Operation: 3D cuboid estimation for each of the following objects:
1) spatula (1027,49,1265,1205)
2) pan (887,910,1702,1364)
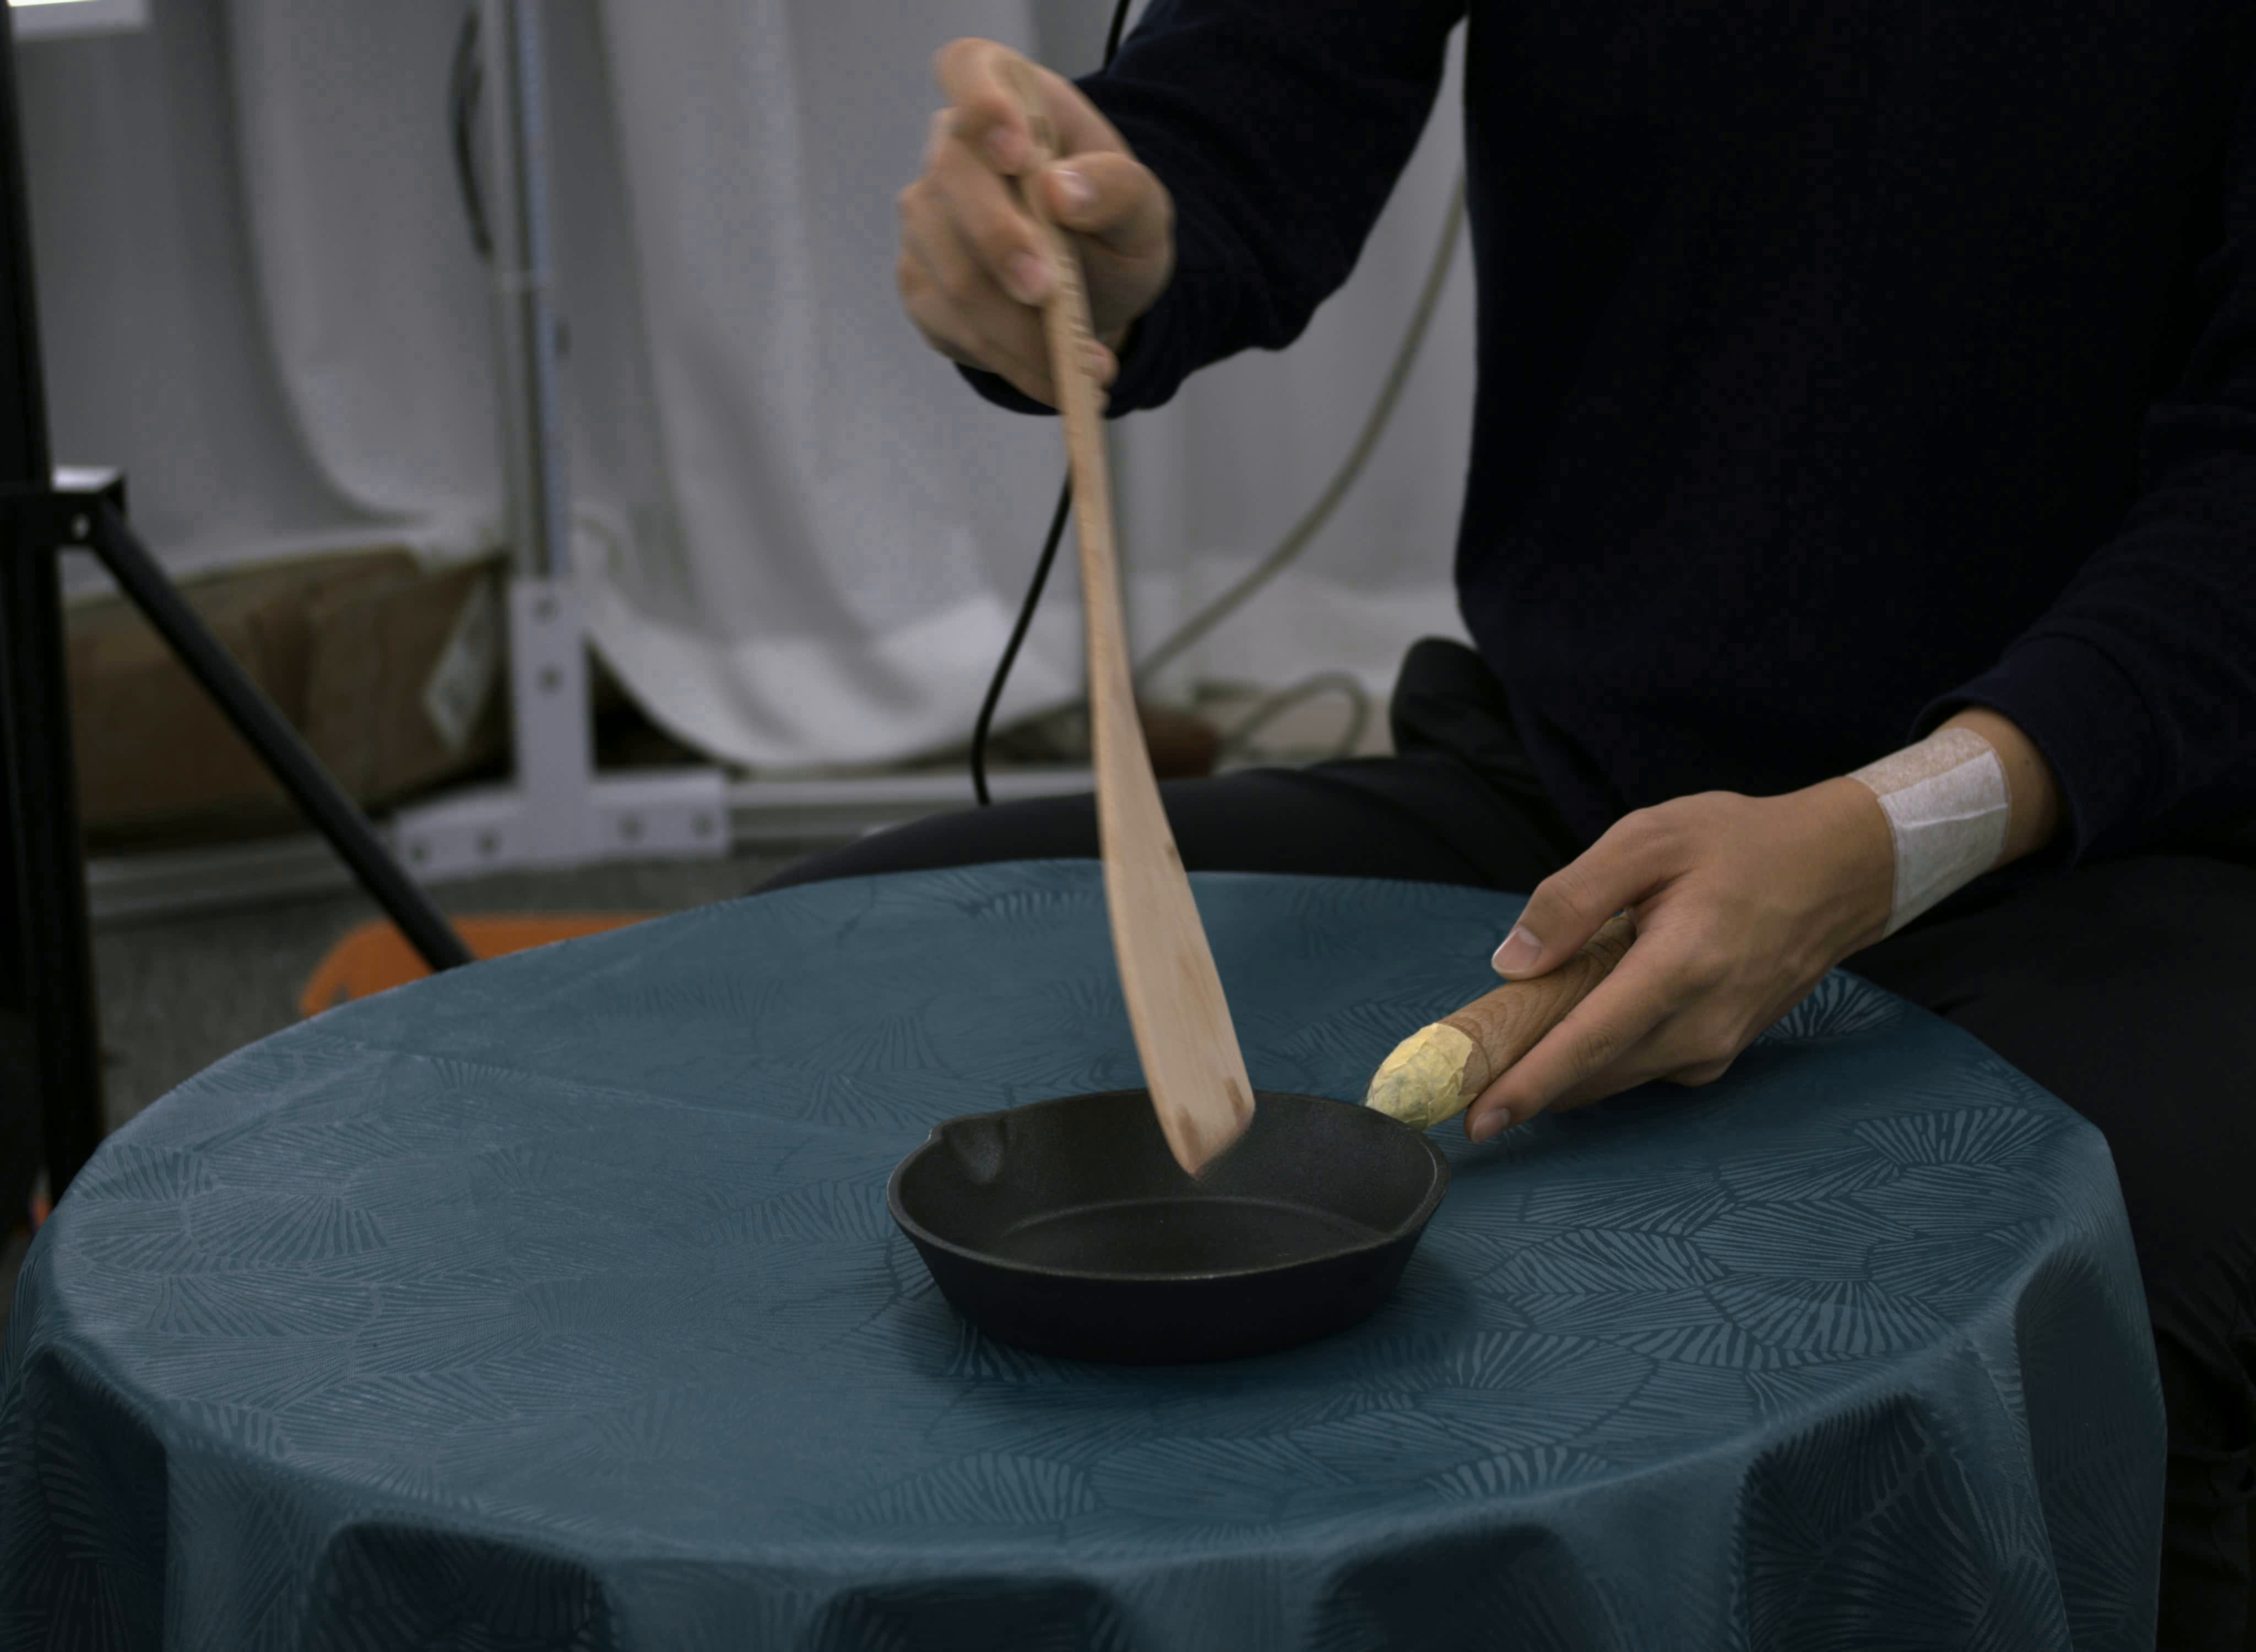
[{"bbox_3d":[0.003,-0.056,1.488,0.016,0.330,0.078,-10,-7,17],"label":"spatula"},{"bbox_3d":[0.068,0.086,1.533,0.173,0.049,0.317,12,23,42],"label":"pan"}]
